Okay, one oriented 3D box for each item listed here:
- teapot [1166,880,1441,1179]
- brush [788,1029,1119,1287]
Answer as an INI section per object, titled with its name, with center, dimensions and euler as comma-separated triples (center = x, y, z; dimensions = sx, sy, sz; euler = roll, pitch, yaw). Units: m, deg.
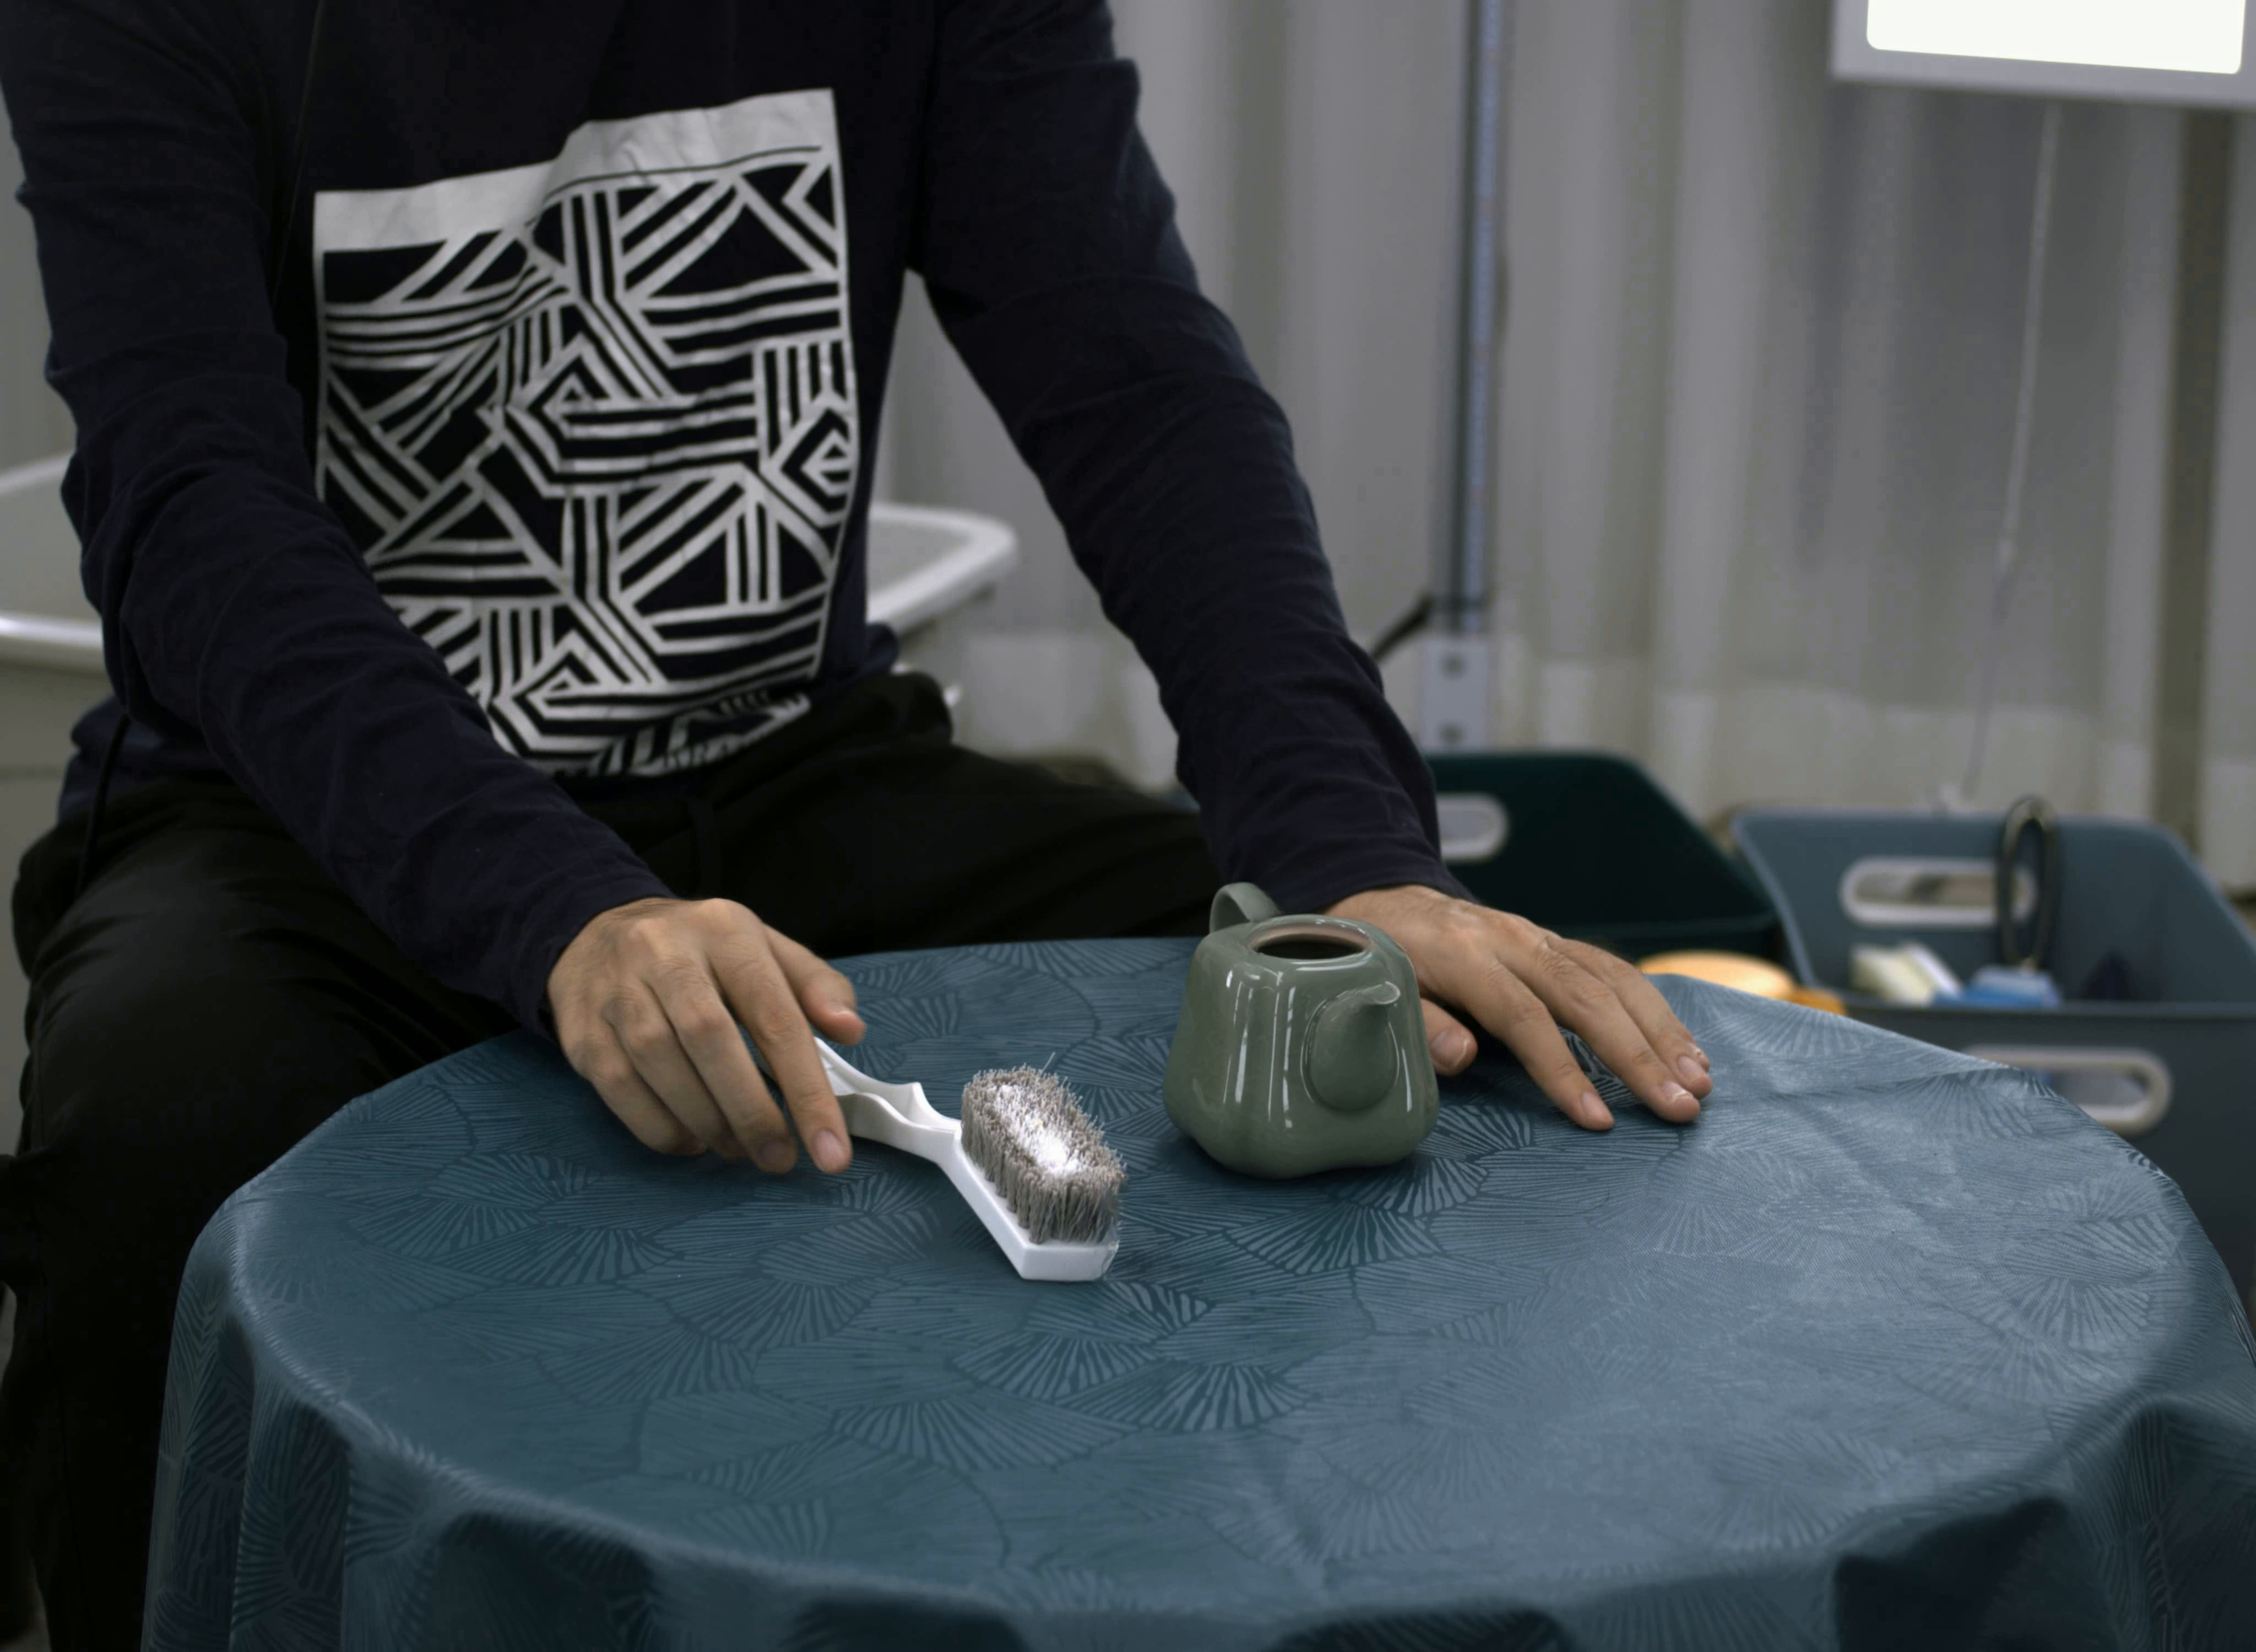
[teapot]
center = 0.055, 0.066, 1.657
dimensions = 0.080, 0.076, 0.131
euler = -6, 16, -22
[brush]
center = -0.060, 0.083, 1.638
dimensions = 0.034, 0.051, 0.241
euler = -13, 20, -20
